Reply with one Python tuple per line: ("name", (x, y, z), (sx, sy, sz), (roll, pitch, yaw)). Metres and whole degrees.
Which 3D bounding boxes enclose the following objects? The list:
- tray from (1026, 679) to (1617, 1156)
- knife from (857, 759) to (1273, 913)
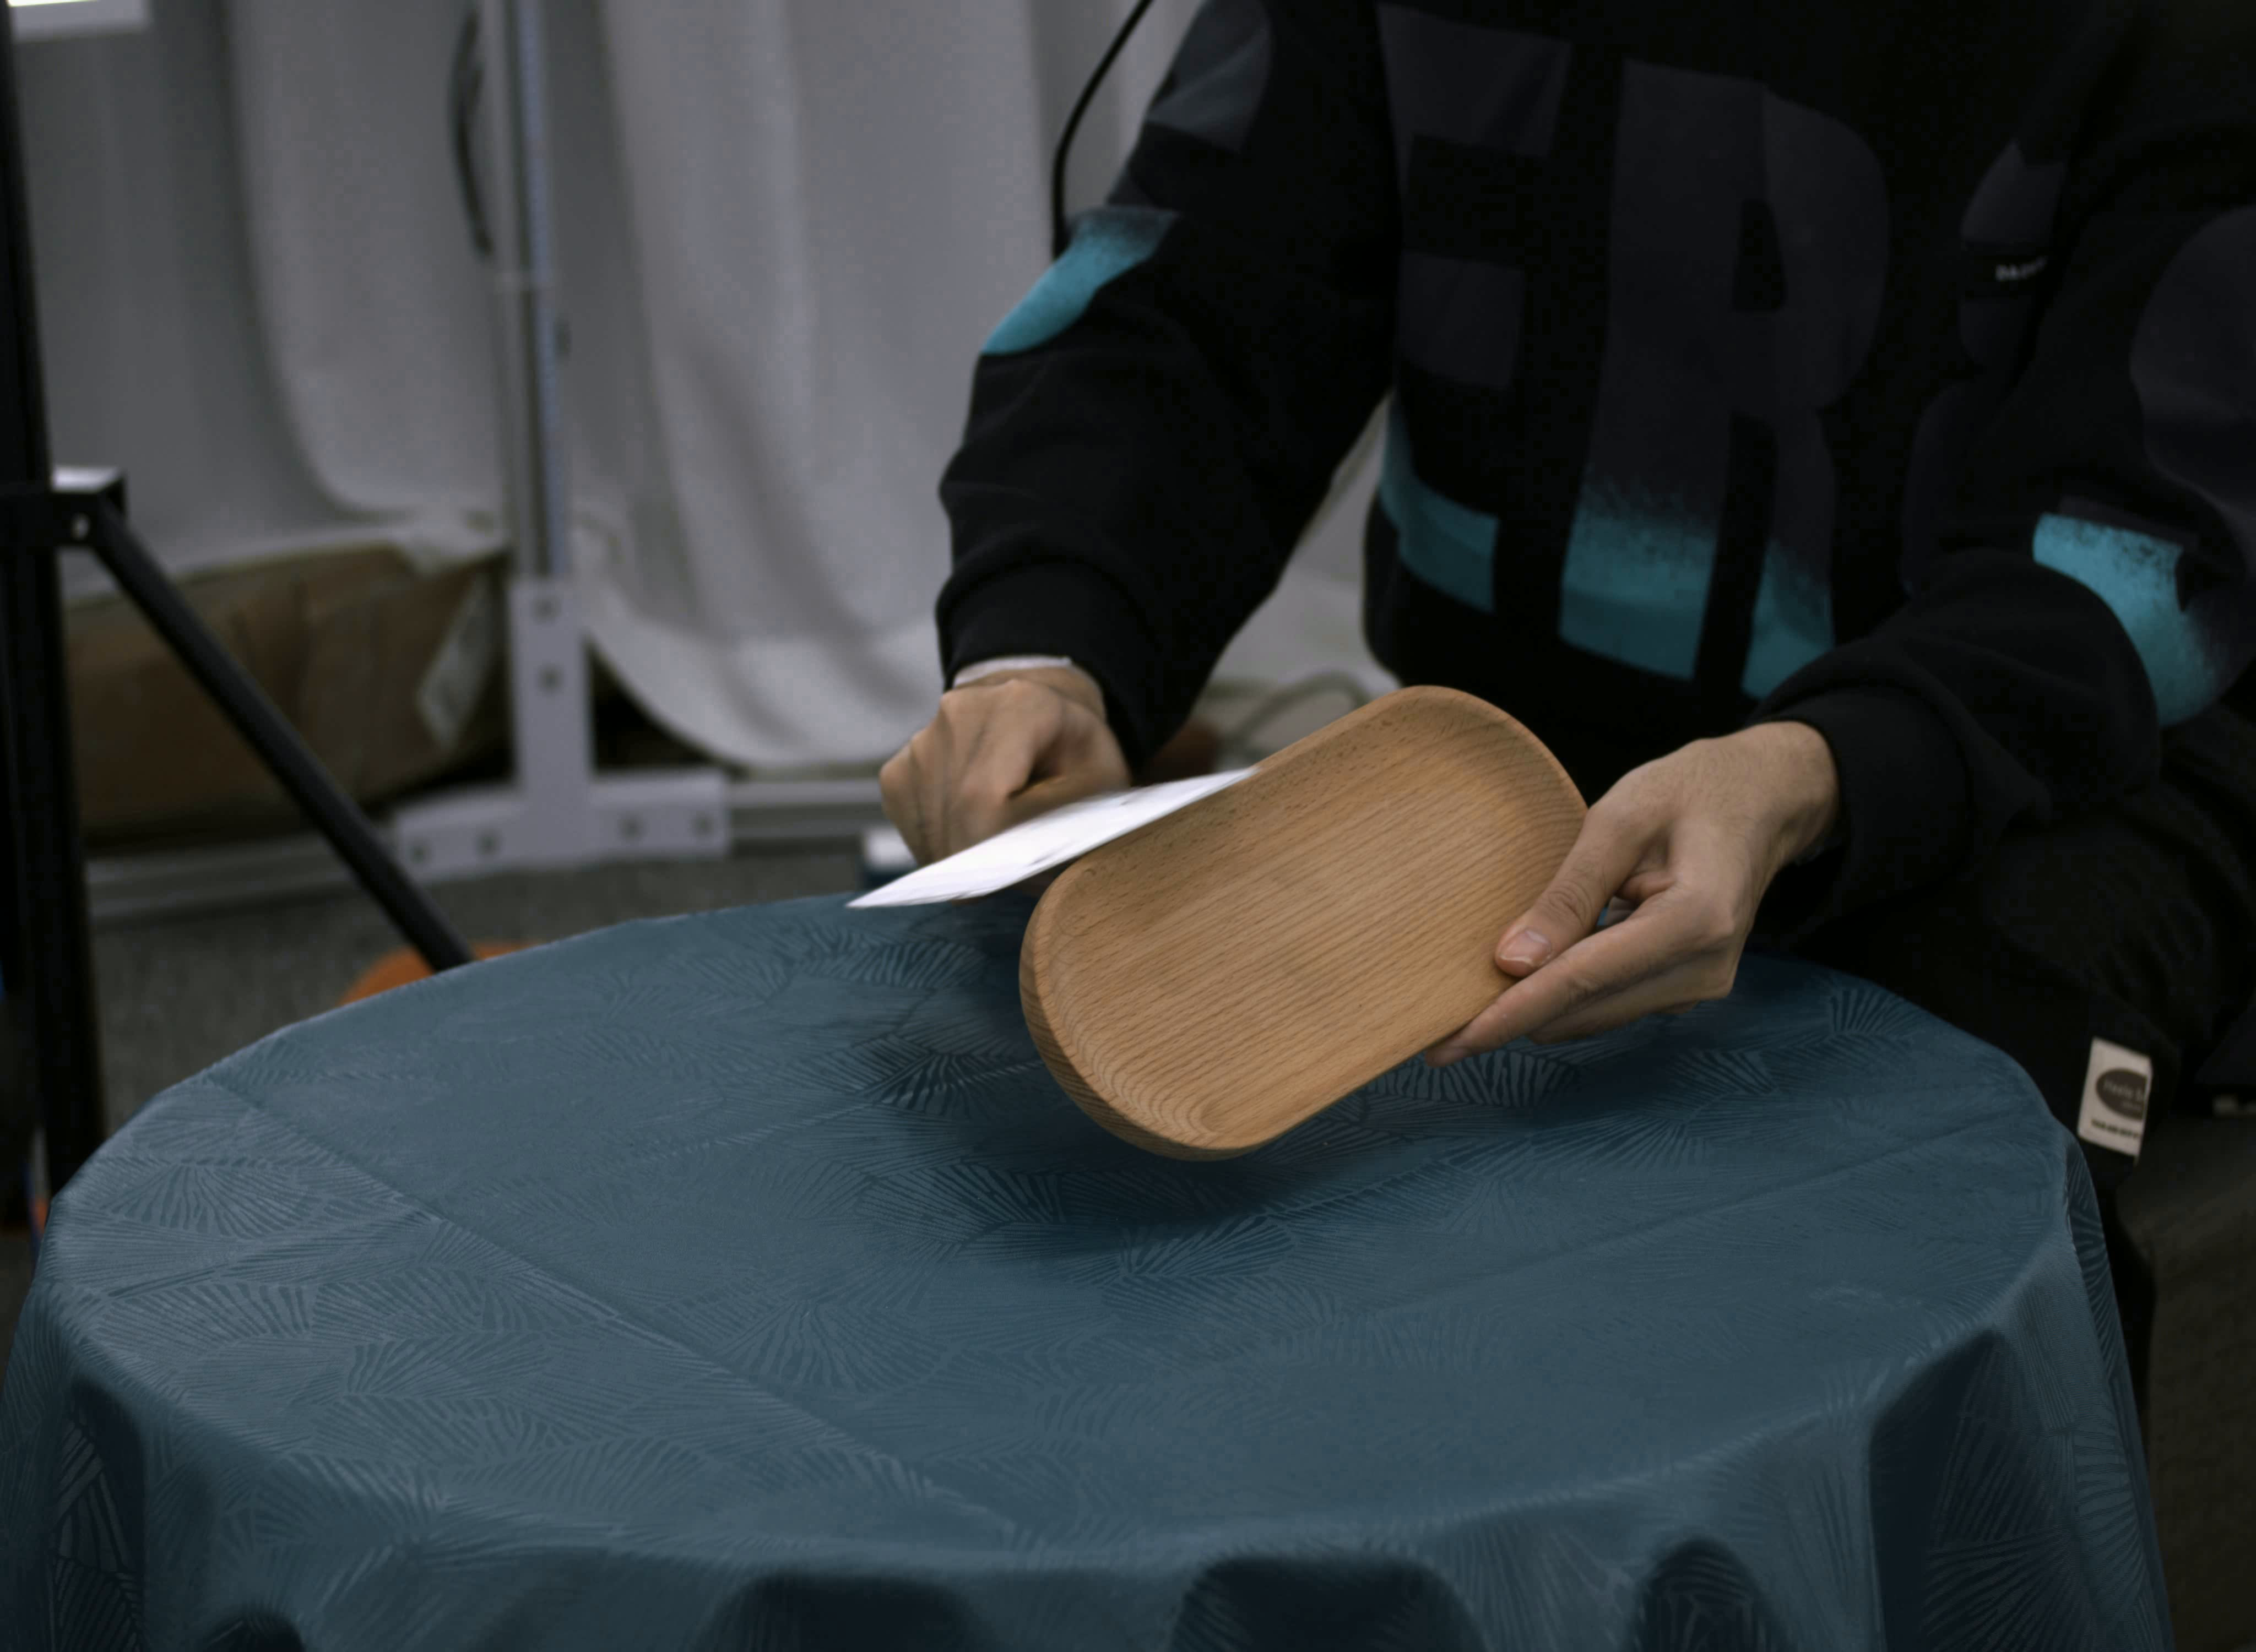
("tray", (0.060, 0.027, 1.586), (0.226, 0.102, 0.020), (-26, -11, -40))
("knife", (-0.038, 0.006, 1.695), (0.092, 0.021, 0.309), (-25, 4, -16))
